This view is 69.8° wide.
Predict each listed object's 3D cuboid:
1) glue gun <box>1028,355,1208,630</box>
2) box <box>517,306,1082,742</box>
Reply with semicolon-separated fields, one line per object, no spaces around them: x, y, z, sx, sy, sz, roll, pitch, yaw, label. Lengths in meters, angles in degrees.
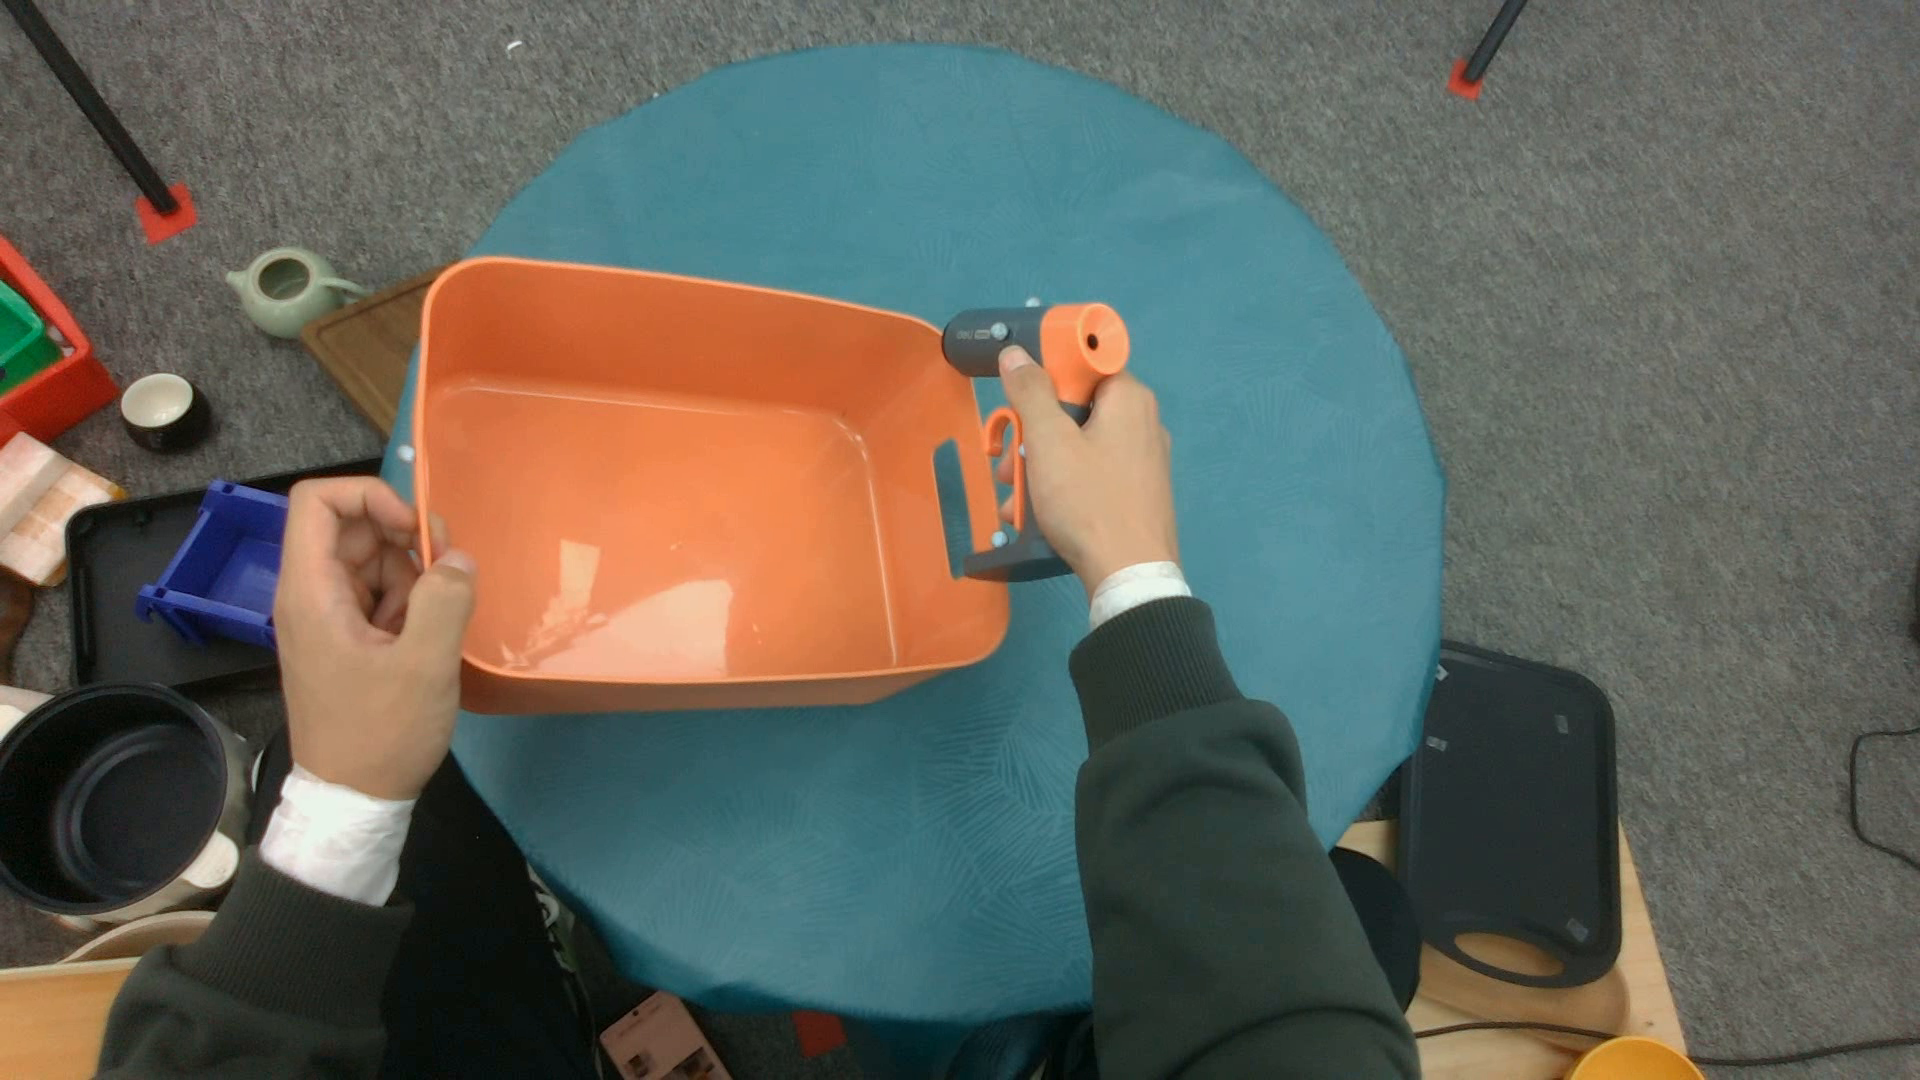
0.070;-0.030;0.672;0.041;0.117;0.140;11;73;-32;glue gun
-0.084;0.006;0.685;0.274;0.102;0.200;4;66;-28;box
